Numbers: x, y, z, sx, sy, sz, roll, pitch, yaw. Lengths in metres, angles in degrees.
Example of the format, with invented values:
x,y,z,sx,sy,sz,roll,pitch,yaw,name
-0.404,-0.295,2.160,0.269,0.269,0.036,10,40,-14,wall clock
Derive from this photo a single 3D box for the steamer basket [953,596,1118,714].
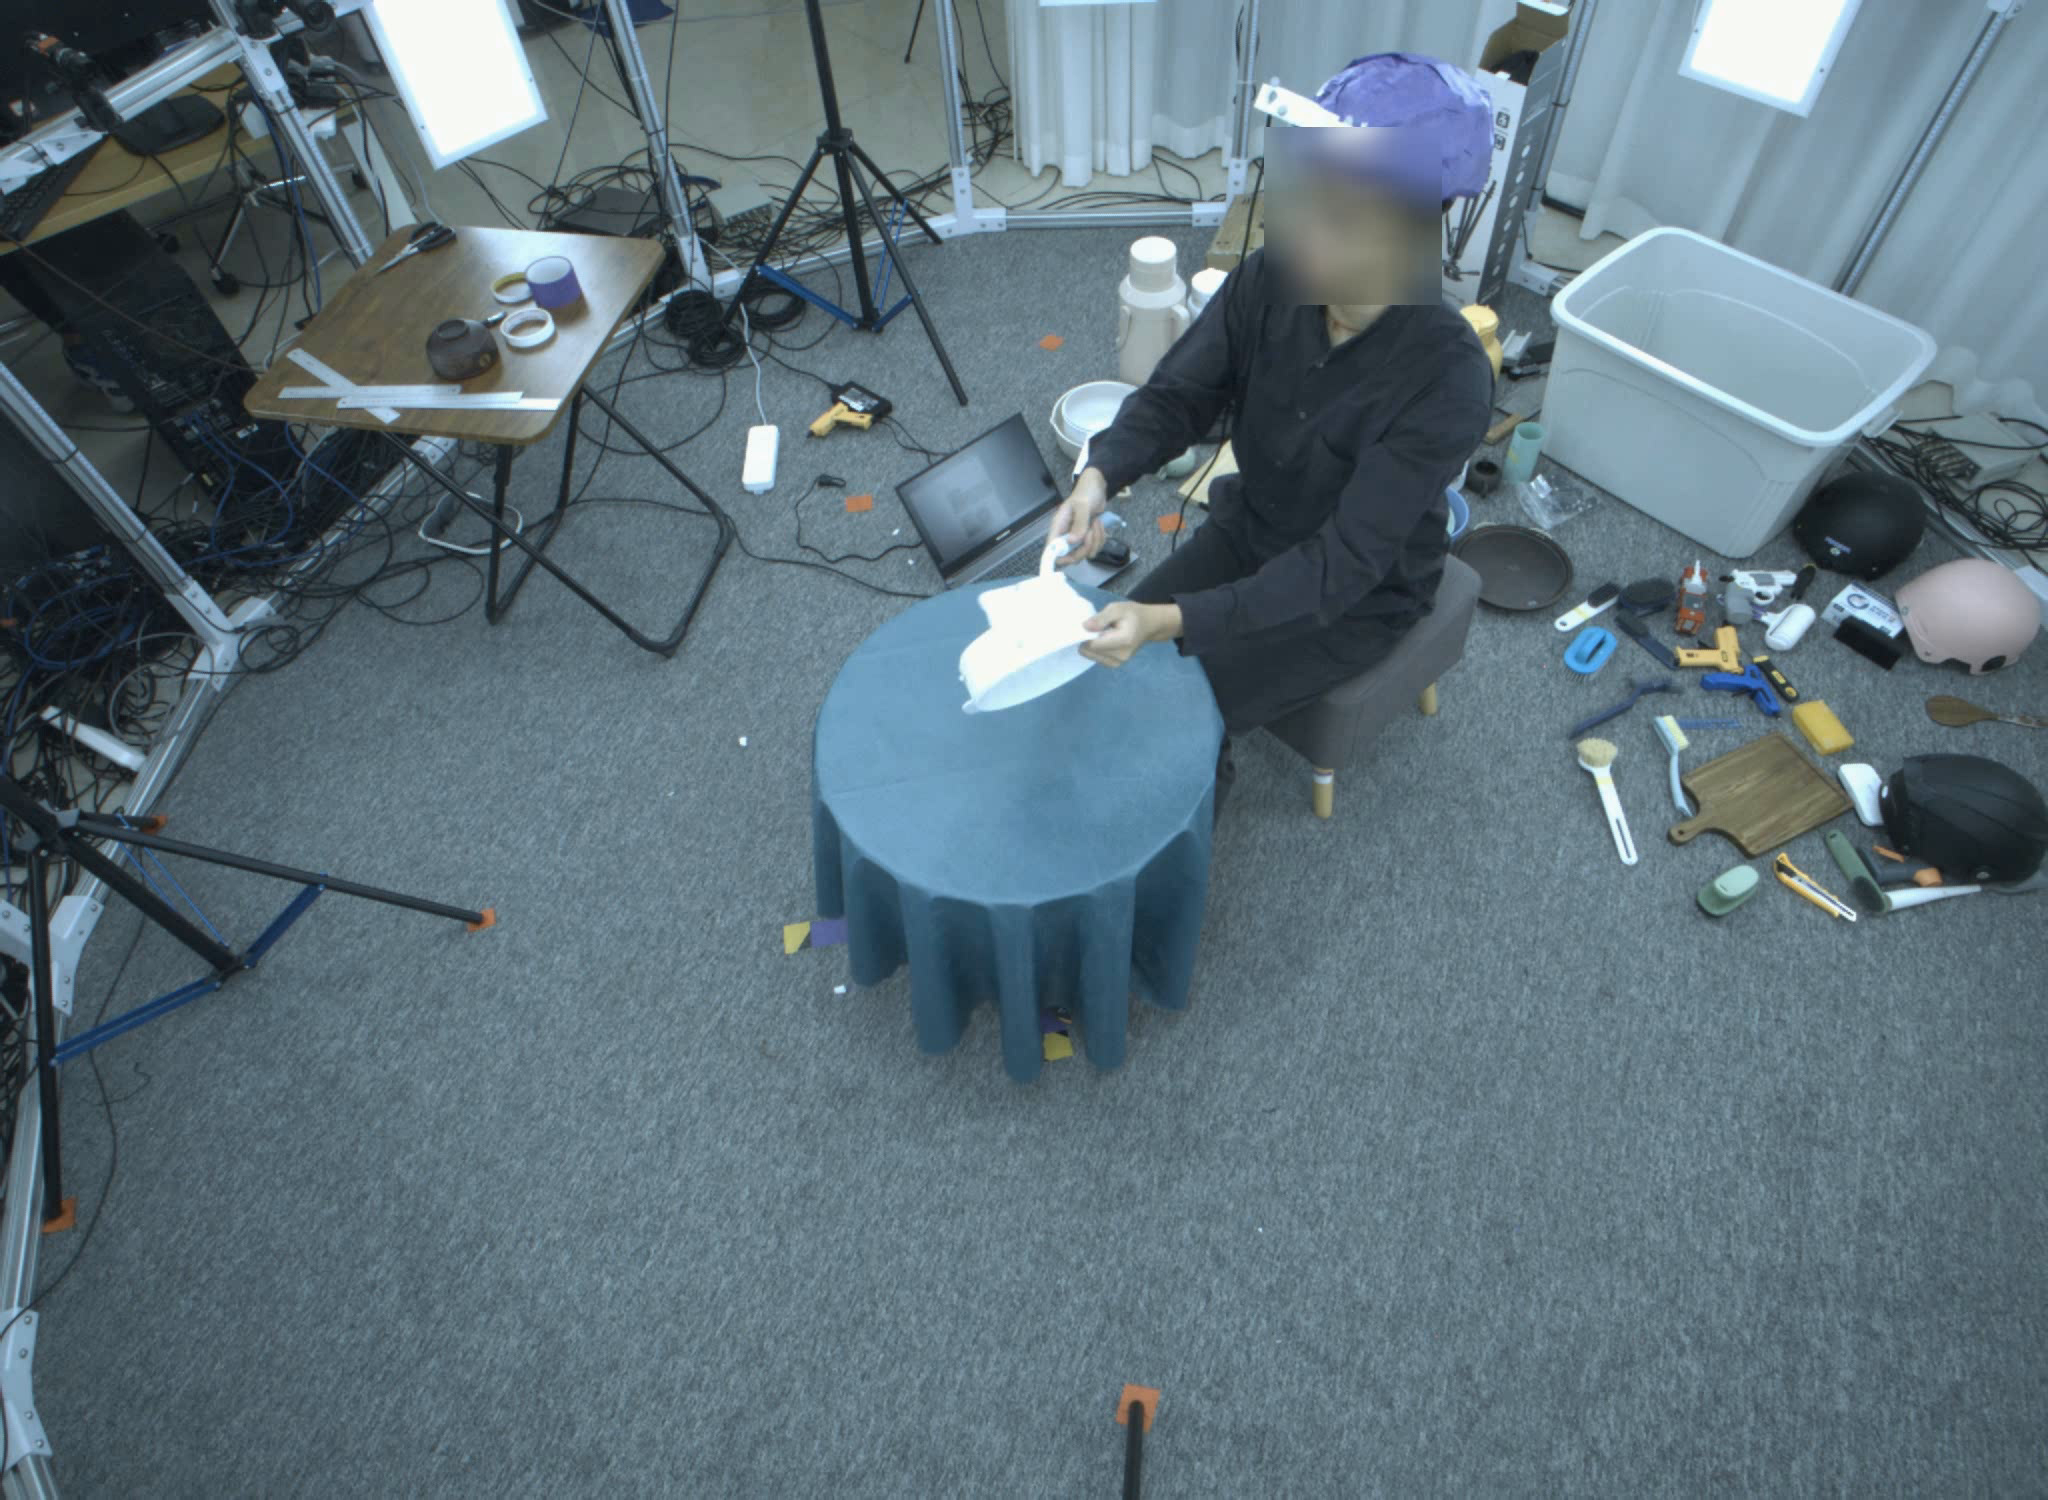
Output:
x,y,z,sx,sy,sz,roll,pitch,yaw,name
0.006,-0.127,1.595,0.230,0.203,0.069,-28,80,4,steamer basket

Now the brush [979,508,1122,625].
x,y,z,sx,sy,sz,roll,pitch,yaw,name
0.062,-0.237,1.630,0.081,0.085,0.329,8,32,36,brush
